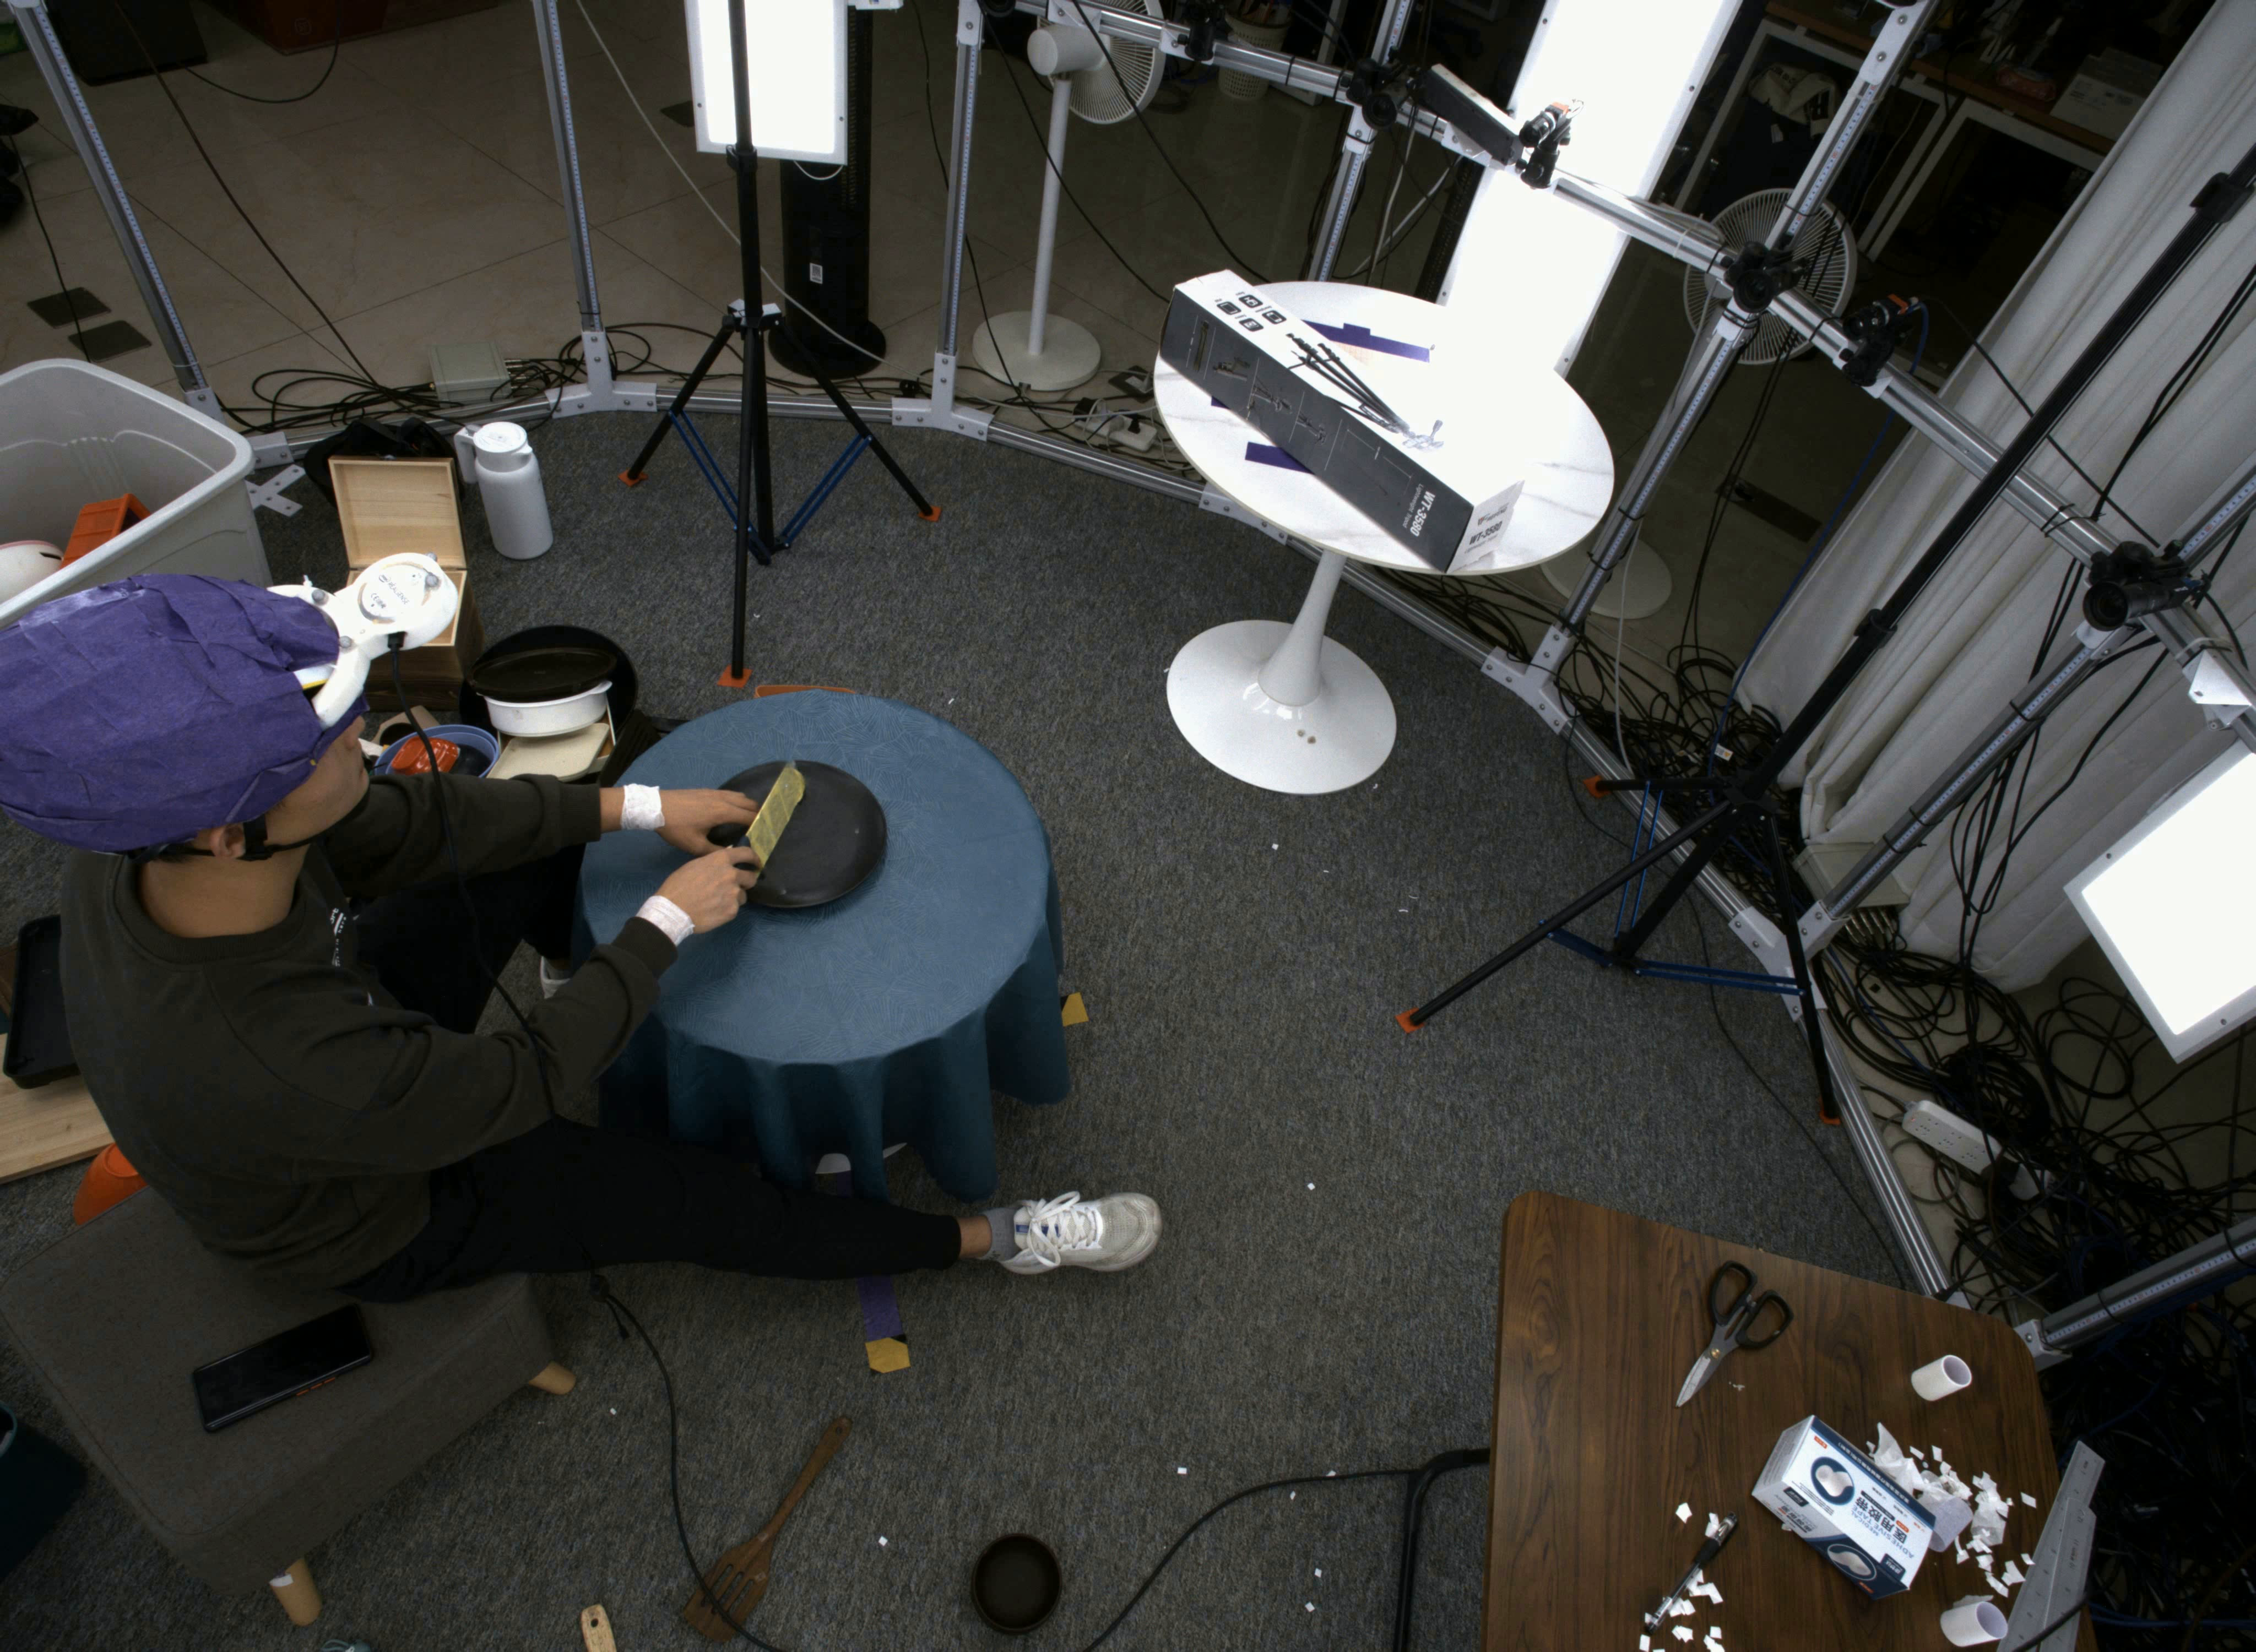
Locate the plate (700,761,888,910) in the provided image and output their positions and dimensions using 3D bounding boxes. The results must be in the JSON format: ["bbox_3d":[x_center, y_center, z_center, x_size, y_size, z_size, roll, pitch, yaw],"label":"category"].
[{"bbox_3d":[-0.438,0.012,1.707,0.244,0.024,0.240,8,52,-9],"label":"plate"}]

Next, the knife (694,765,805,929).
[{"bbox_3d":[-0.472,0.026,1.643,0.026,0.084,0.286,9,47,14],"label":"knife"}]
